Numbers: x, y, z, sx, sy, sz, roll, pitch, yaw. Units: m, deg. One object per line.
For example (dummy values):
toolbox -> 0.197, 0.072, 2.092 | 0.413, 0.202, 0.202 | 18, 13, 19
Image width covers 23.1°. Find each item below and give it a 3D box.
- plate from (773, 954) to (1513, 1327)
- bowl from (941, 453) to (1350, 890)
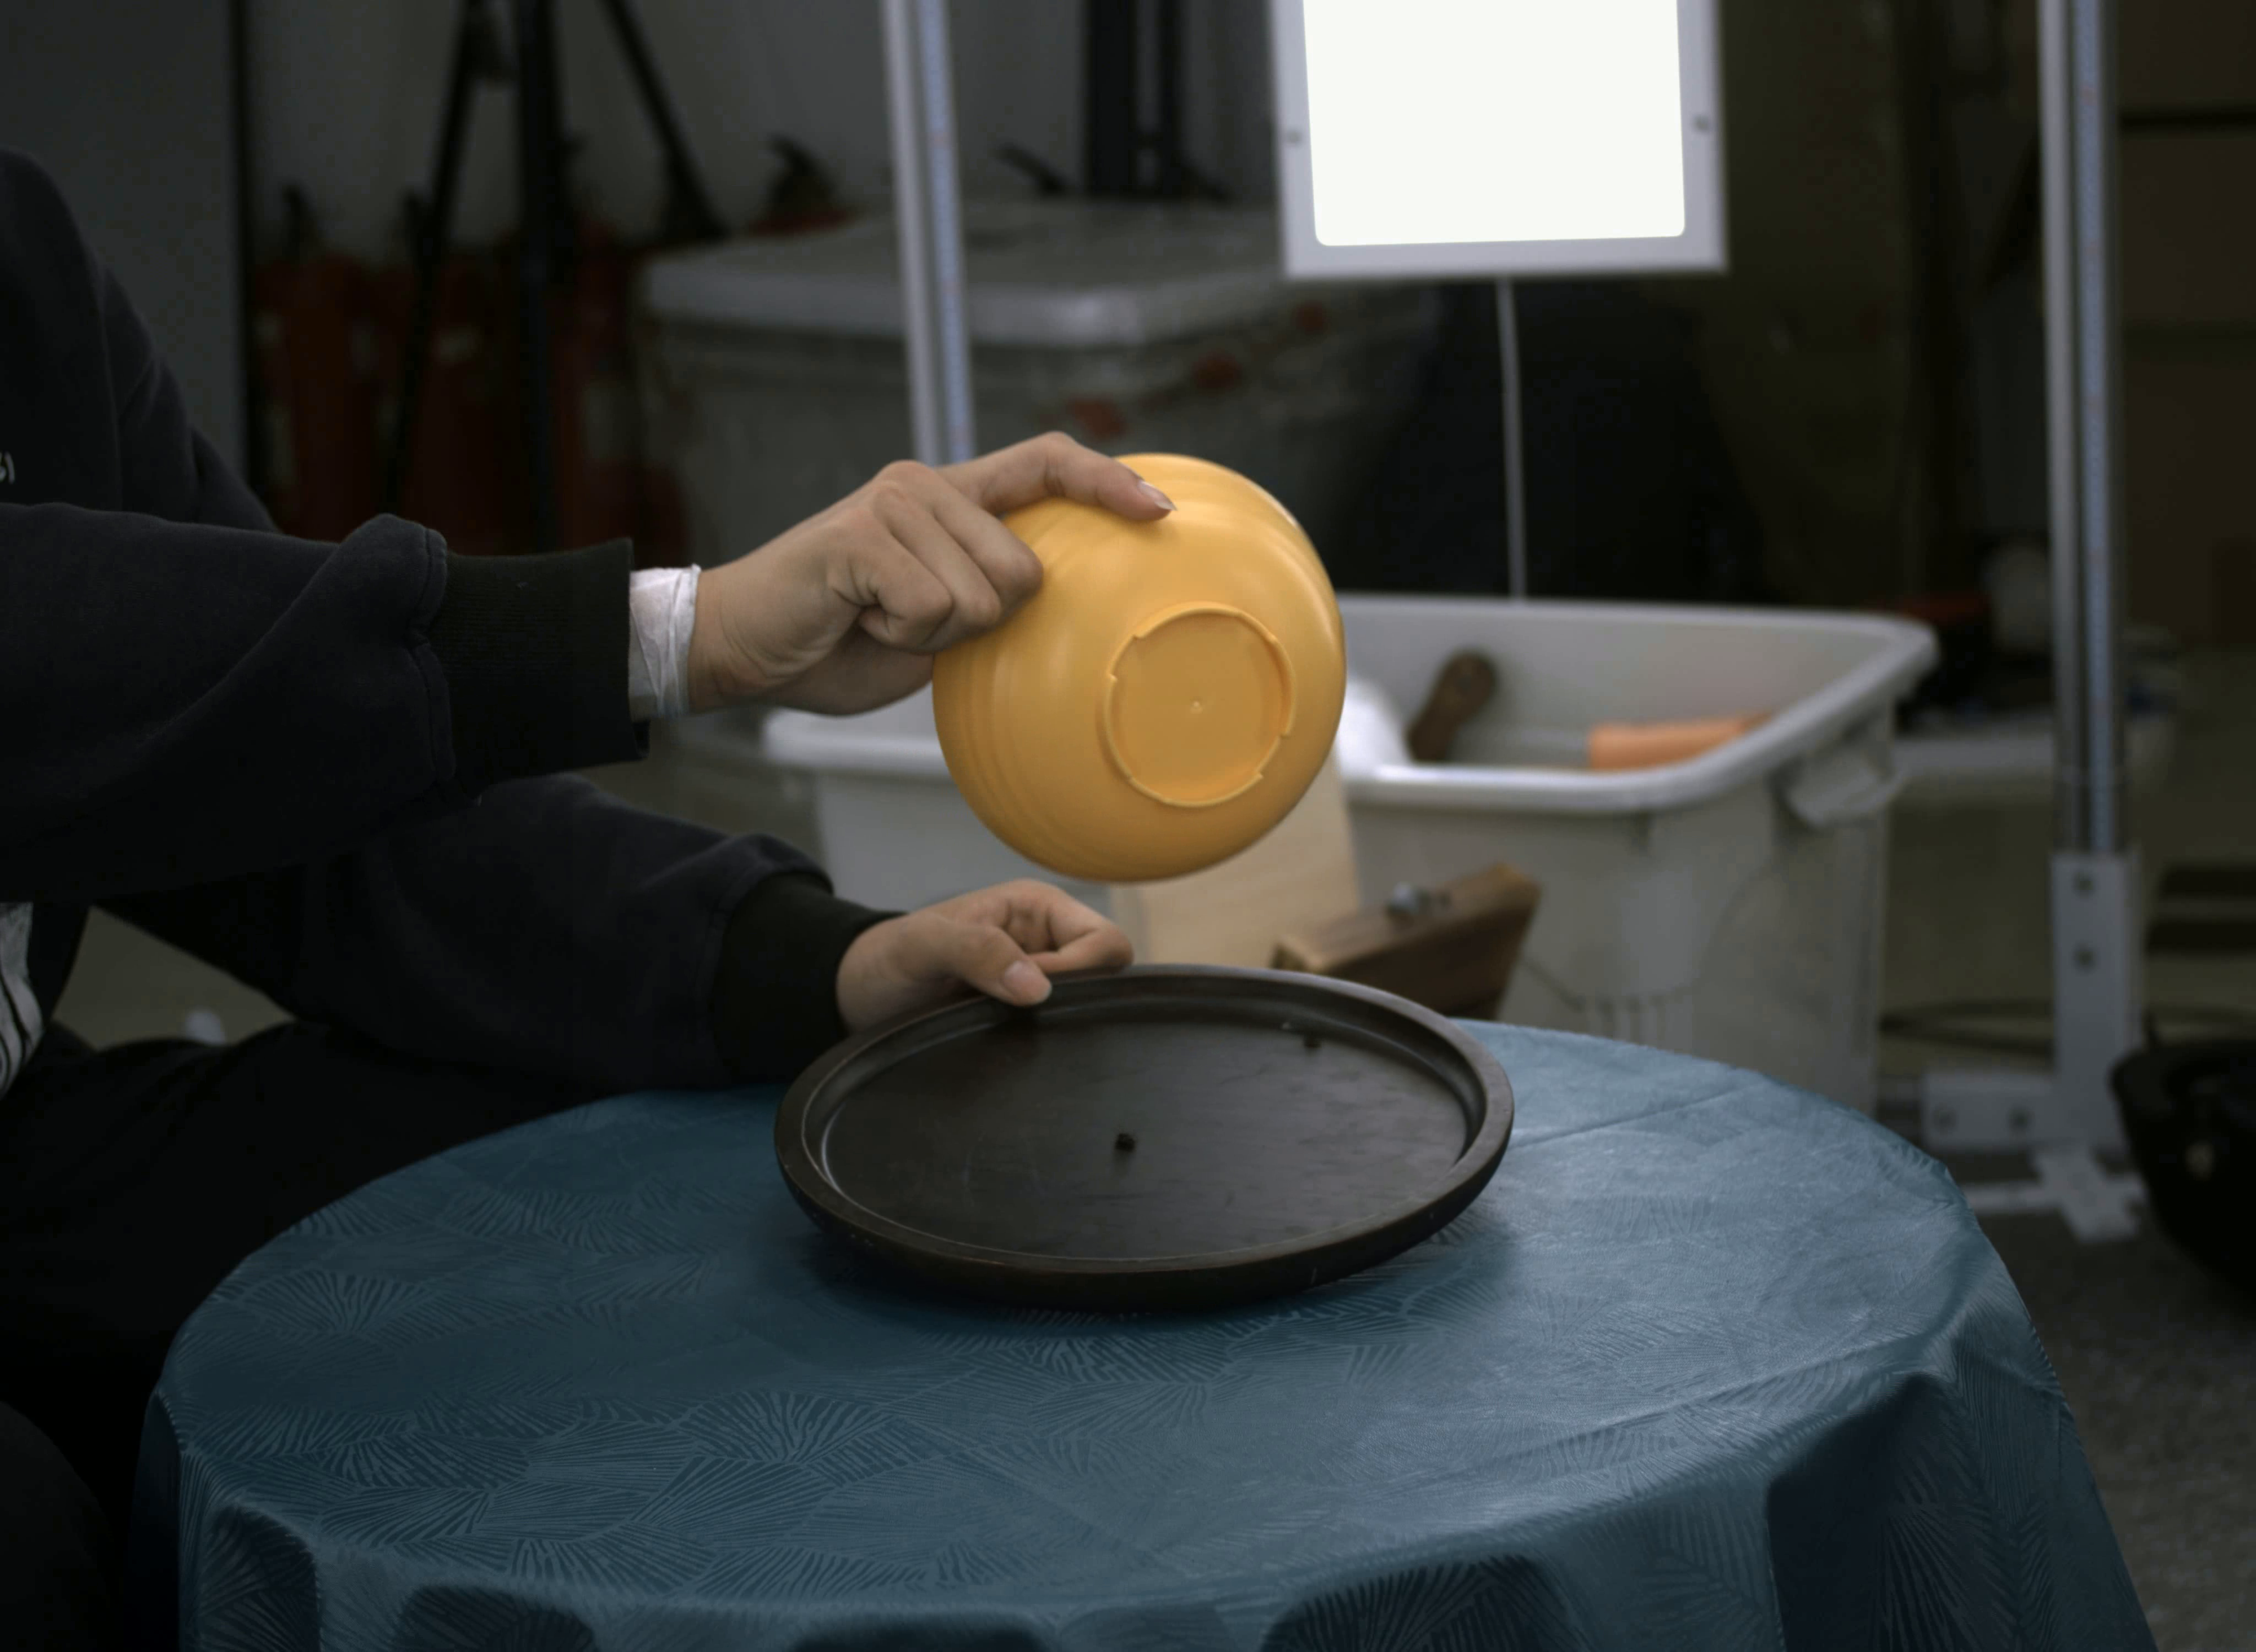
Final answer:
plate -> 0.006, 0.105, 1.872 | 0.254, 0.029, 0.254 | -5, 23, 1
bowl -> 0.016, -0.046, 1.781 | 0.142, 0.146, 0.061 | -9, 14, -20
